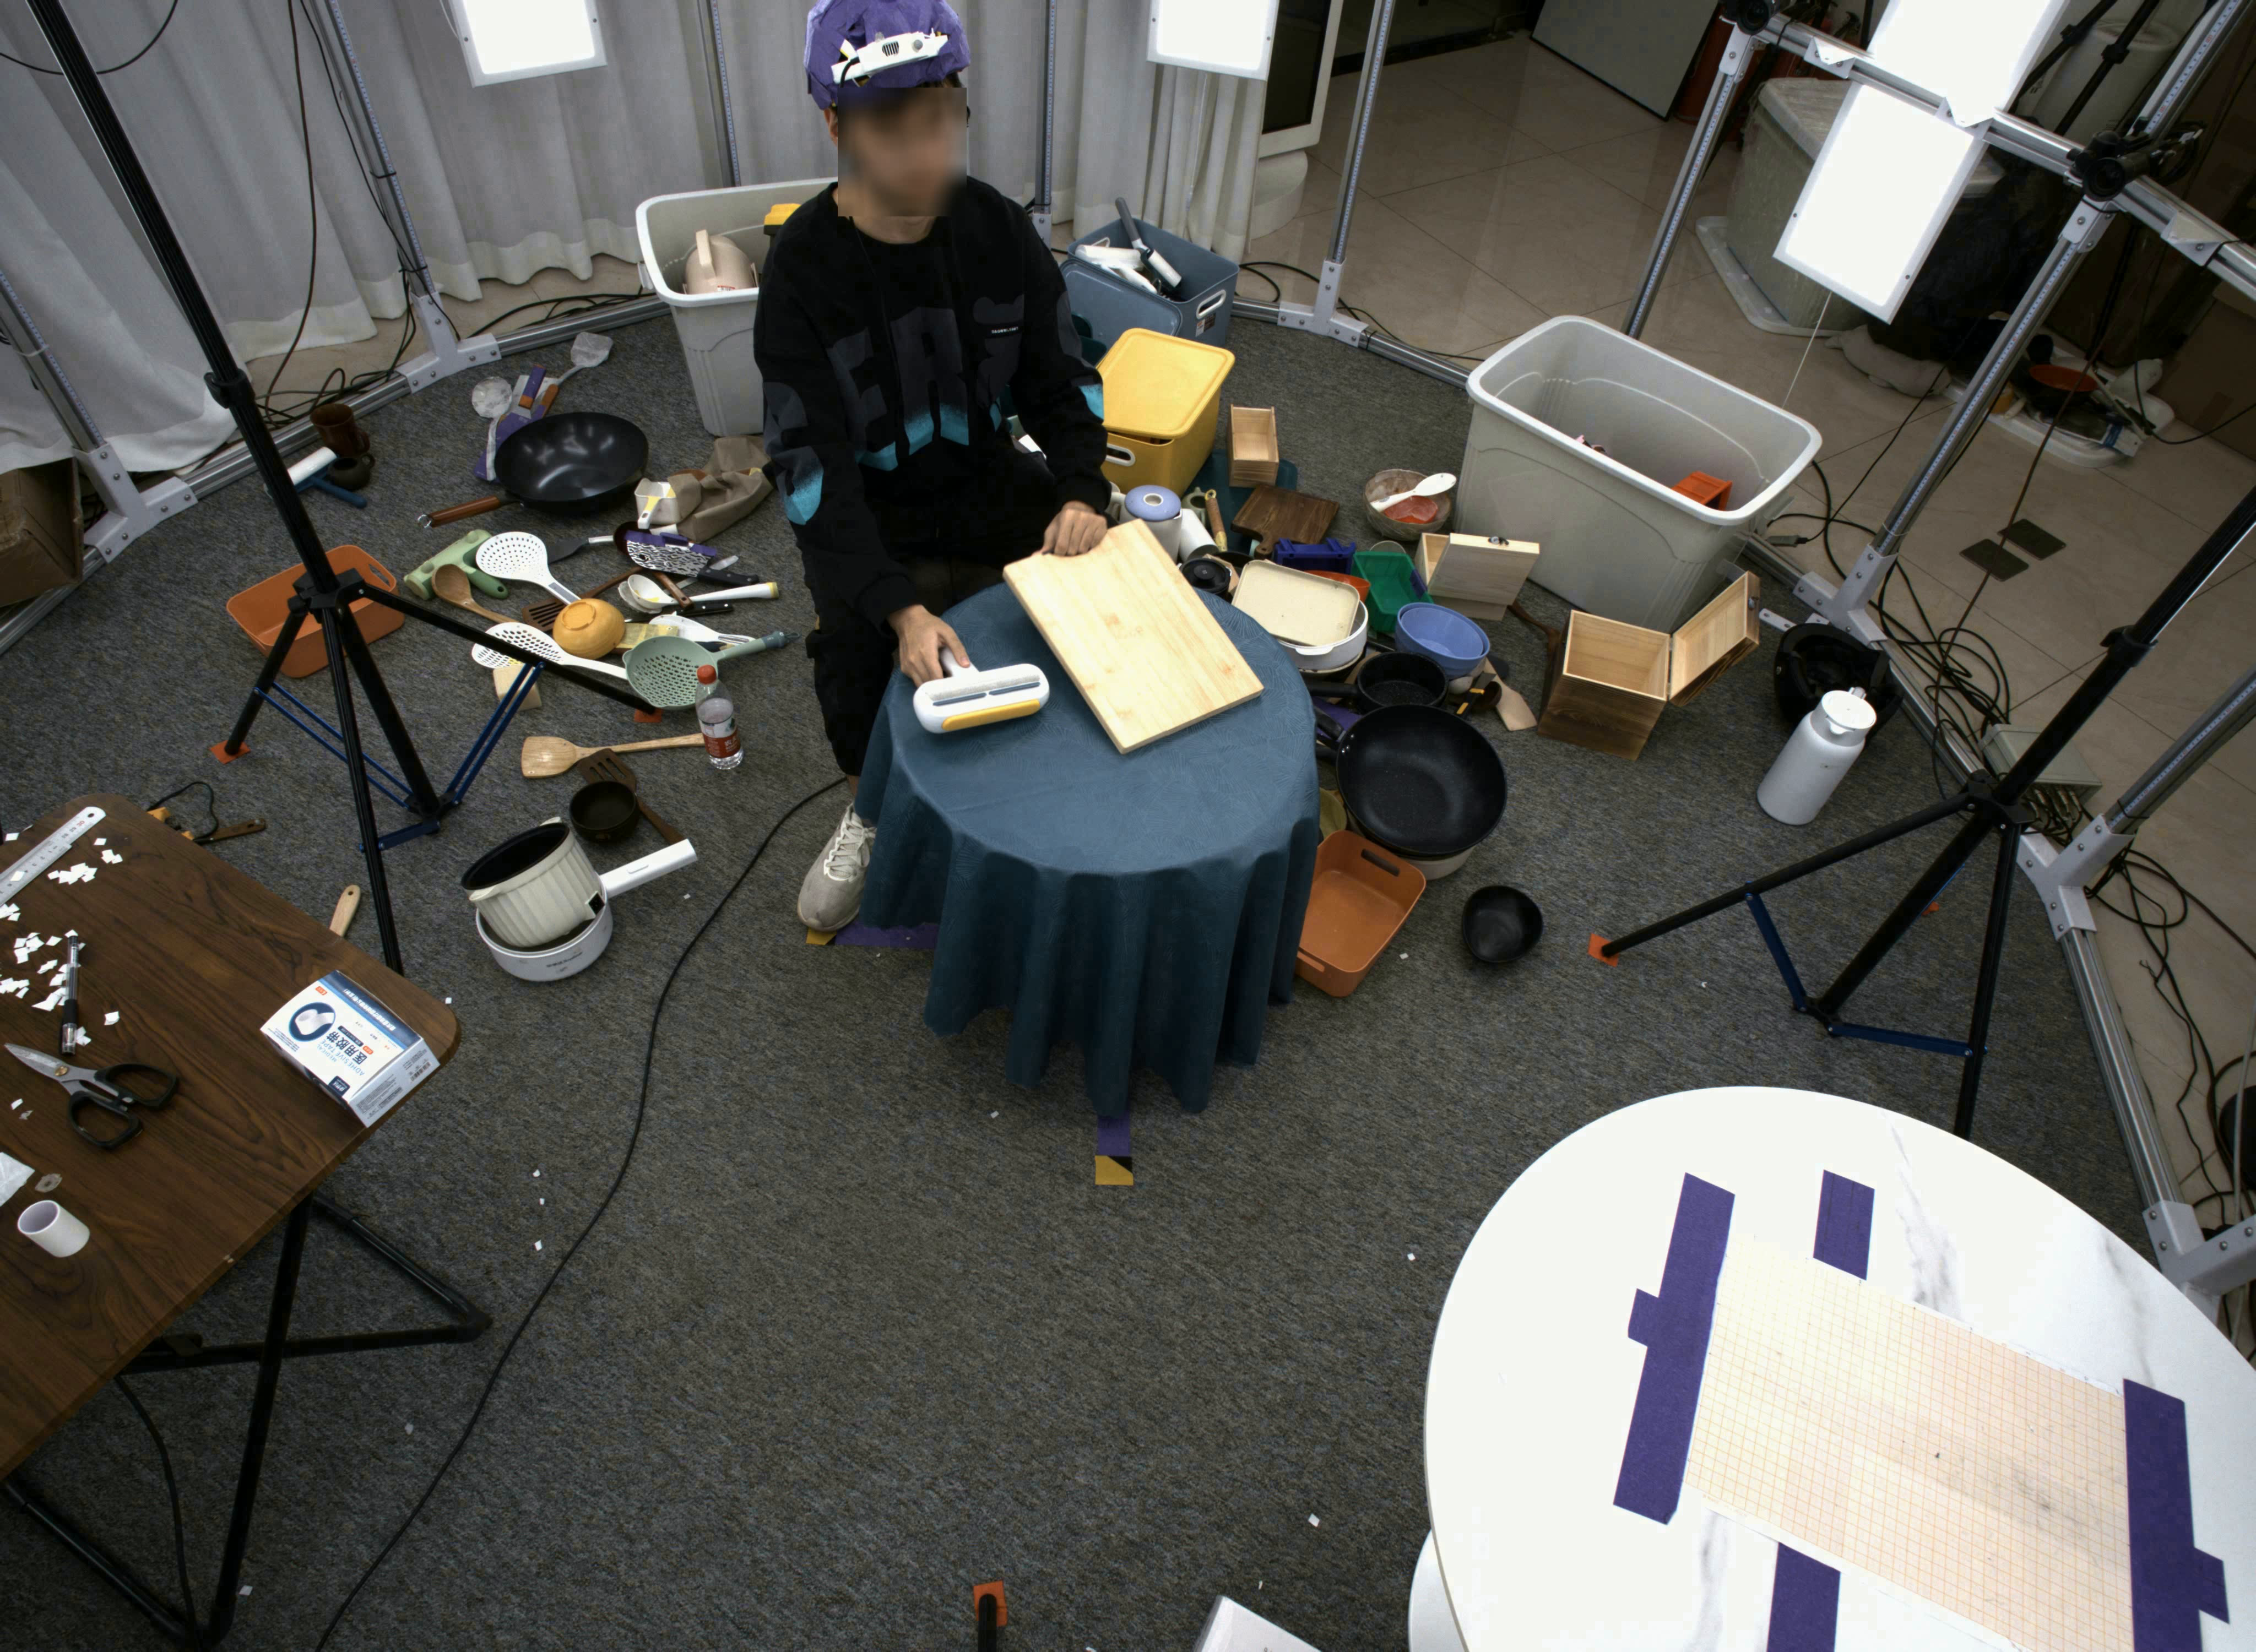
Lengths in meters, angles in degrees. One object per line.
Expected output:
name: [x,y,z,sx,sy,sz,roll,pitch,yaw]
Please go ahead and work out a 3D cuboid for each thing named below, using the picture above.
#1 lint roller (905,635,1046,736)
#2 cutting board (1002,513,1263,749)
lint roller: [-0.229,-0.211,1.788,0.193,0.072,0.197,-14,54,-21]
cutting board: [0.004,-0.288,1.856,0.252,0.023,0.354,-24,68,-23]
